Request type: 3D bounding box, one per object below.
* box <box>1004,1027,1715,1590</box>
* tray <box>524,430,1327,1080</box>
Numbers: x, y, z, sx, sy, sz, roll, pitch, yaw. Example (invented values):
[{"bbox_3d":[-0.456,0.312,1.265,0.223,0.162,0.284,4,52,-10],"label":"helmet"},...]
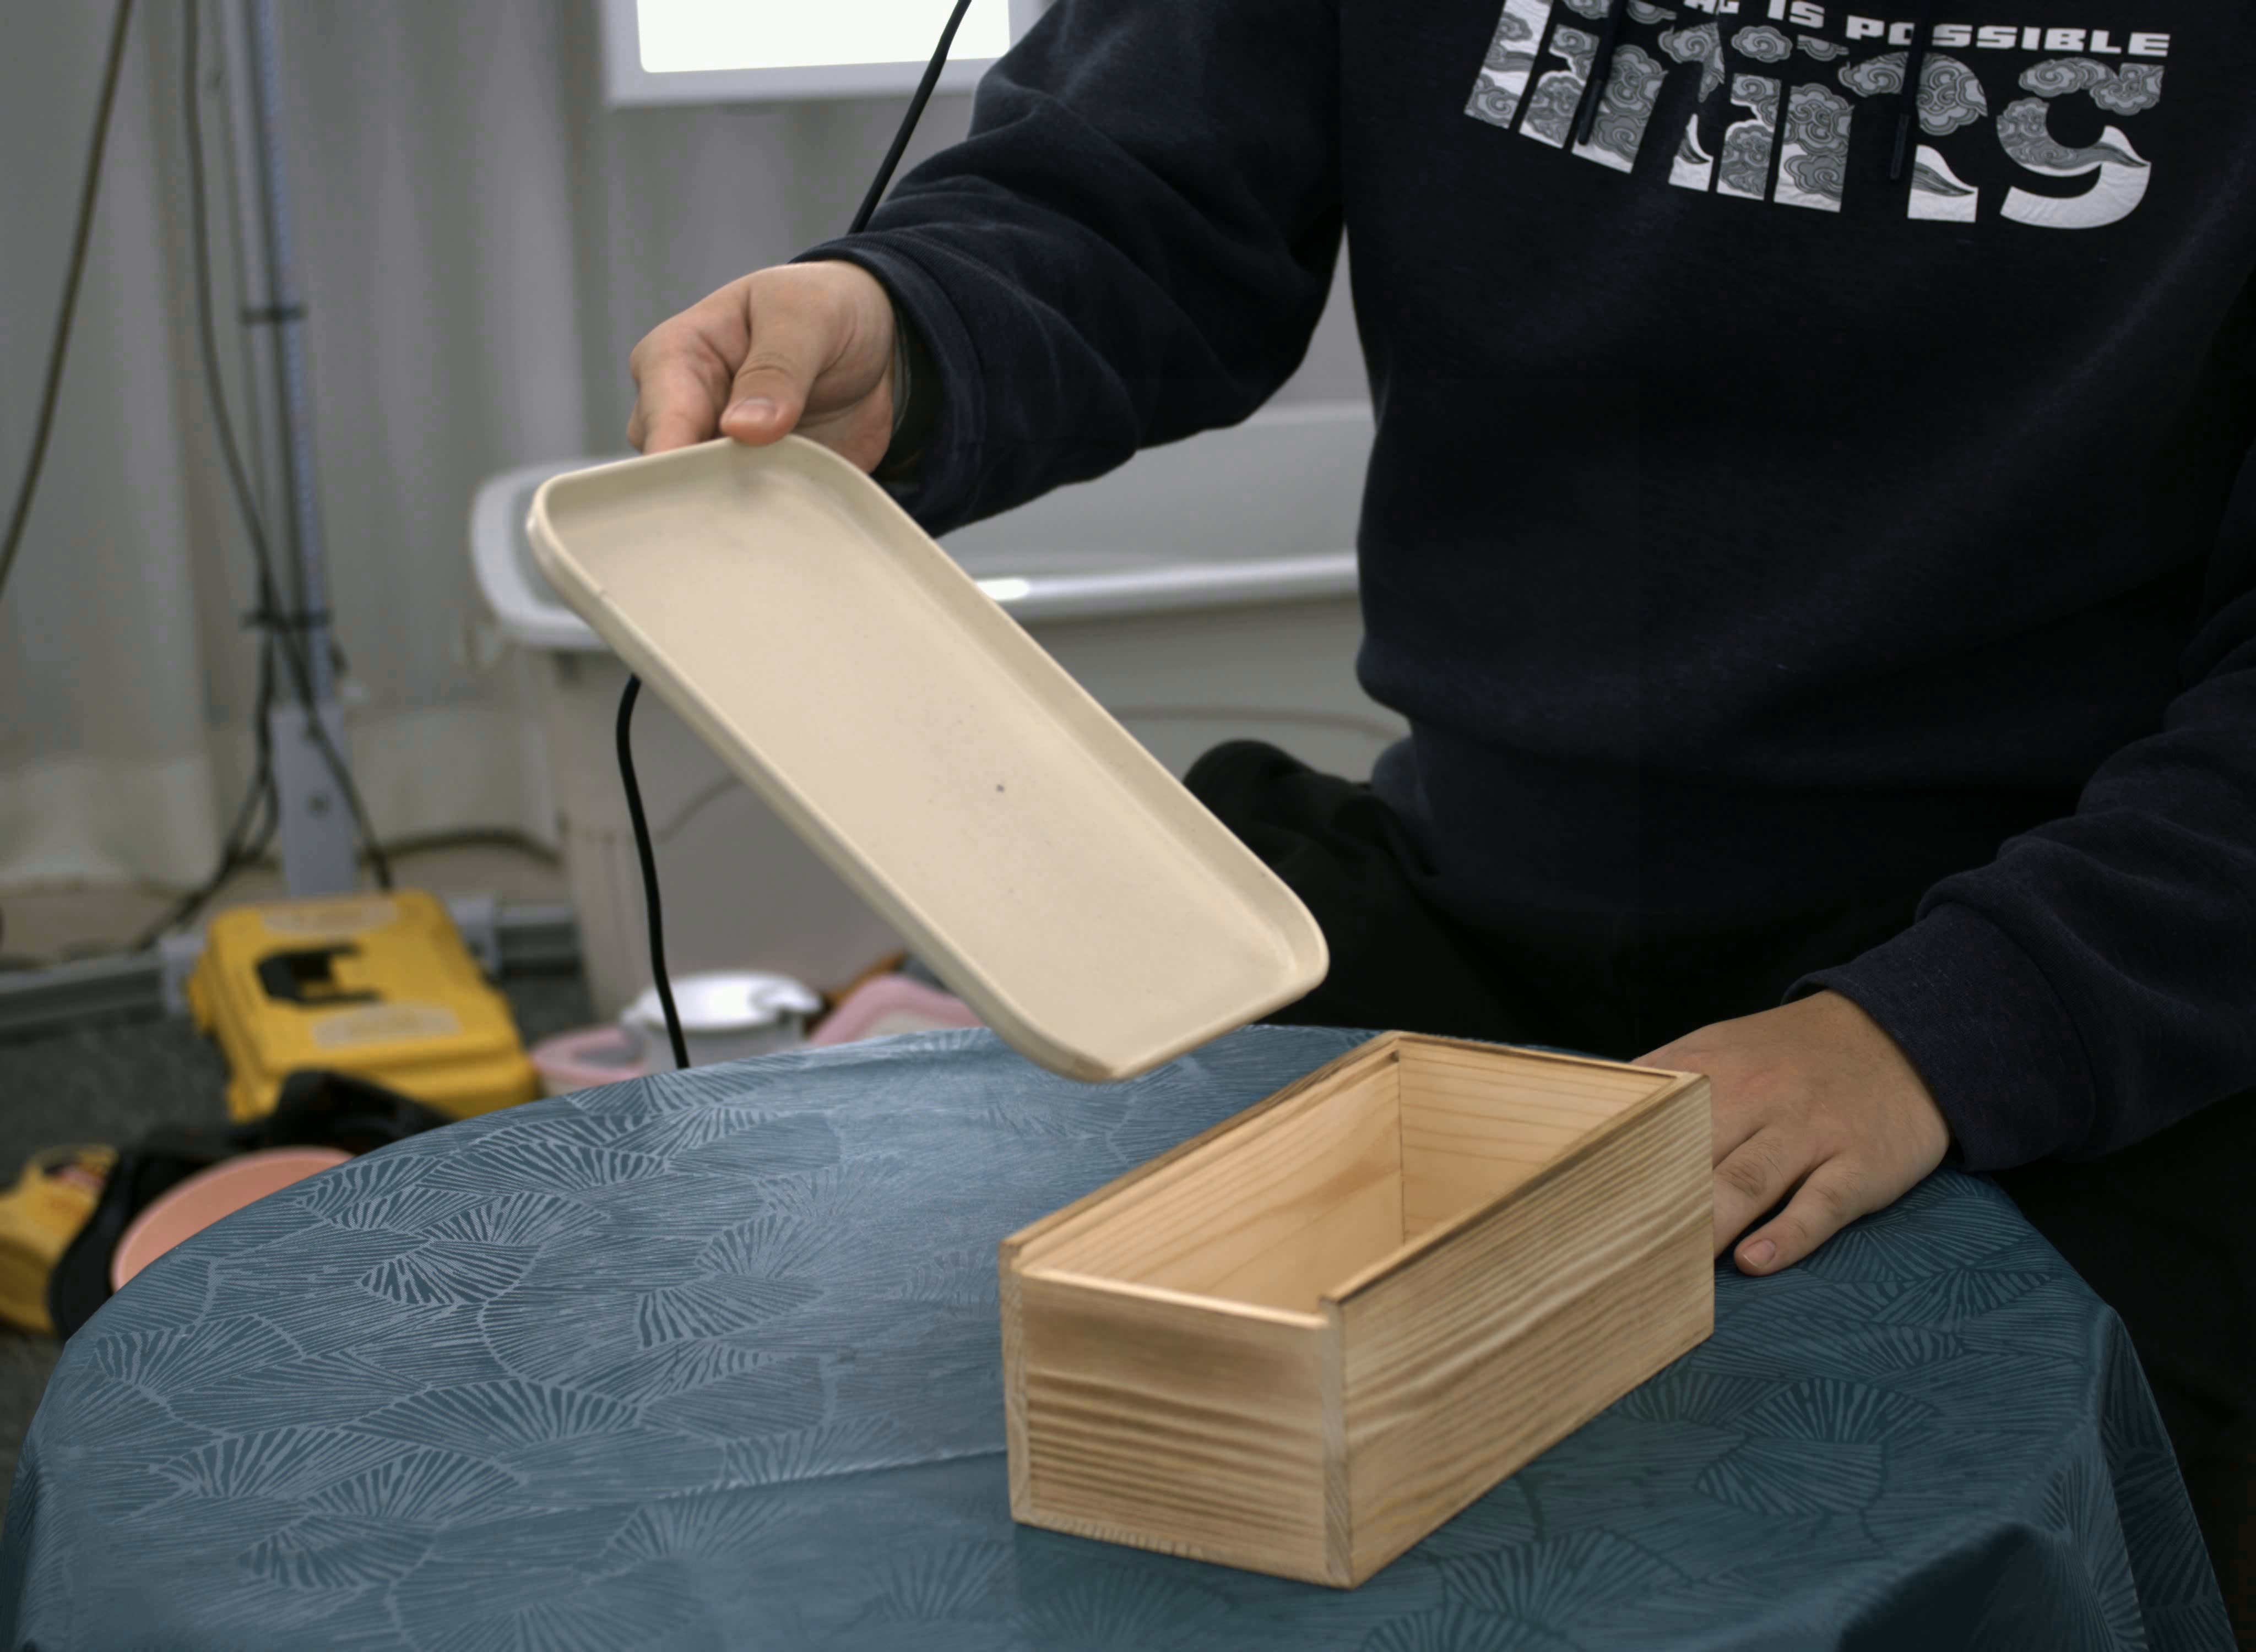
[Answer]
[{"bbox_3d":[0.068,0.128,1.503,0.108,0.080,0.211,7,17,31],"label":"box"},{"bbox_3d":[-0.058,-0.022,1.555,0.241,0.017,0.171,44,26,14],"label":"tray"}]
